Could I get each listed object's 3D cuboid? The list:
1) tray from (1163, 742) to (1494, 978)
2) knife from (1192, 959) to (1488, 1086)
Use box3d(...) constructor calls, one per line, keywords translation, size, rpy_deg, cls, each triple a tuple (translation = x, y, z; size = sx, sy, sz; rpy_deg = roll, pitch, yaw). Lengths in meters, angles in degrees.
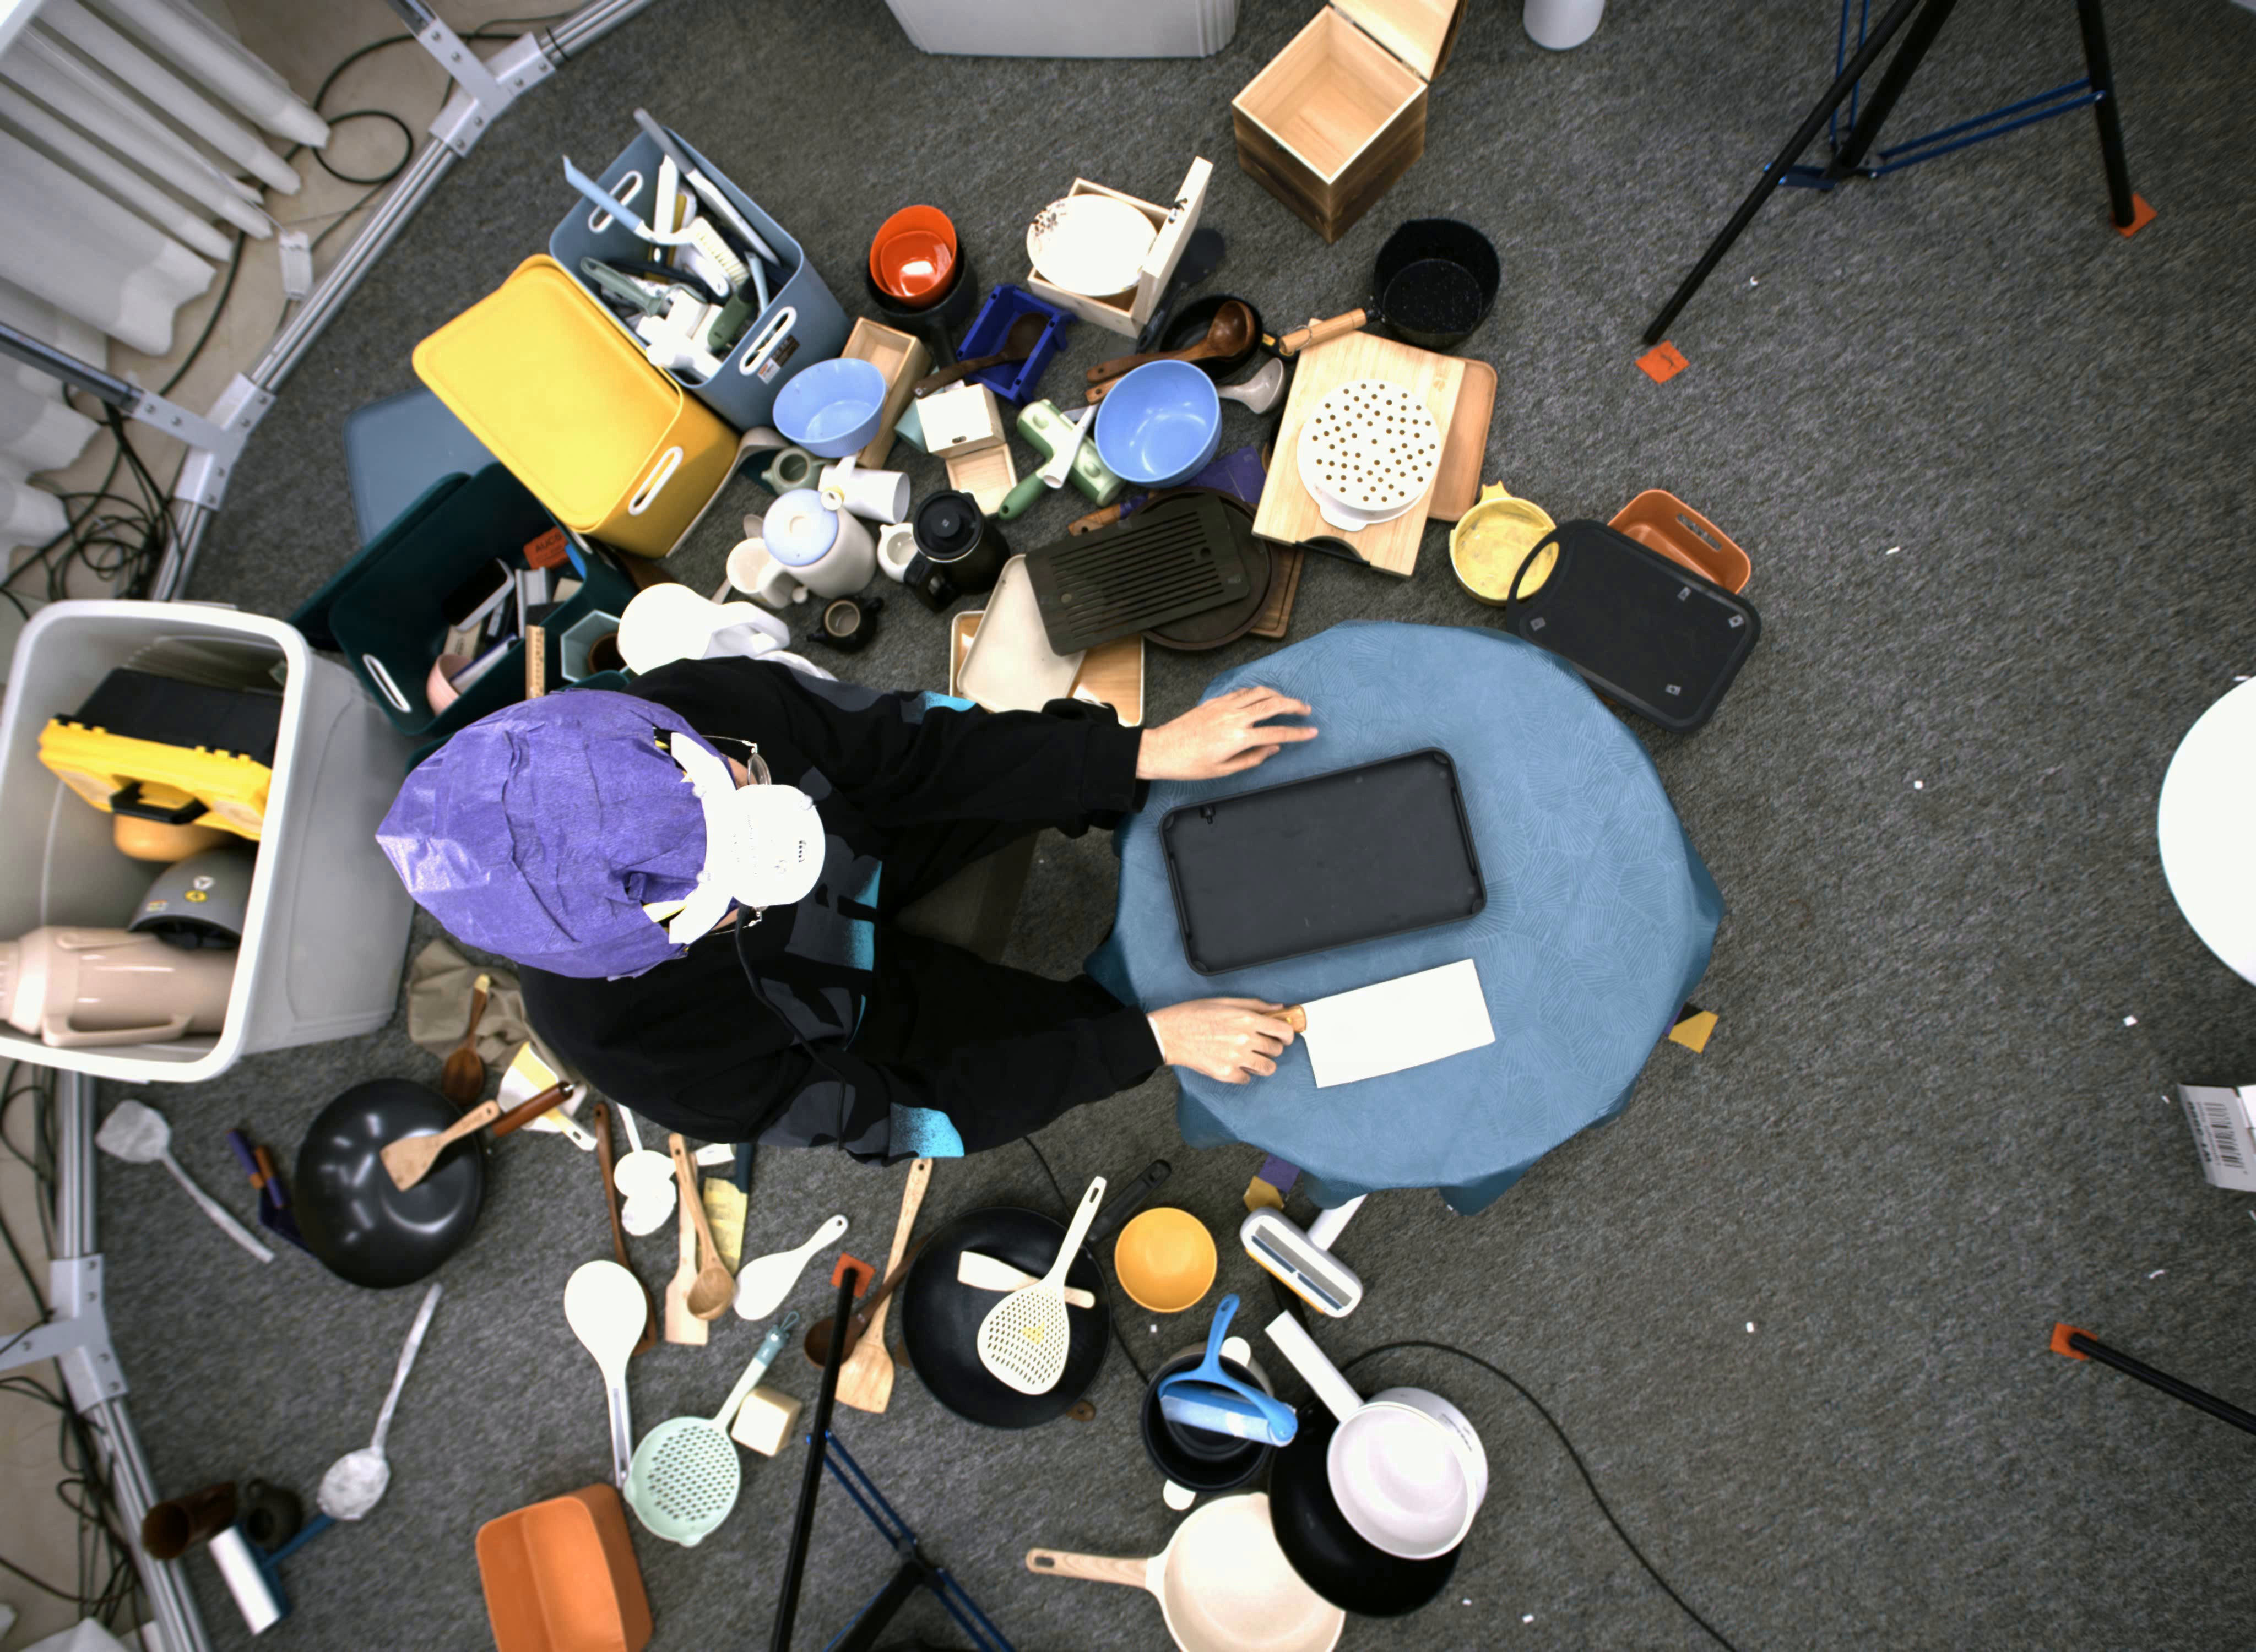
box3d(translation=(0.208, 0.036, 1.455), size=(0.320, 0.037, 0.183), rpy_deg=(-15, 84, 10), cls="tray")
box3d(translation=(0.223, 0.218, 1.449), size=(0.307, 0.021, 0.093), rpy_deg=(-16, 90, 7), cls="knife")
